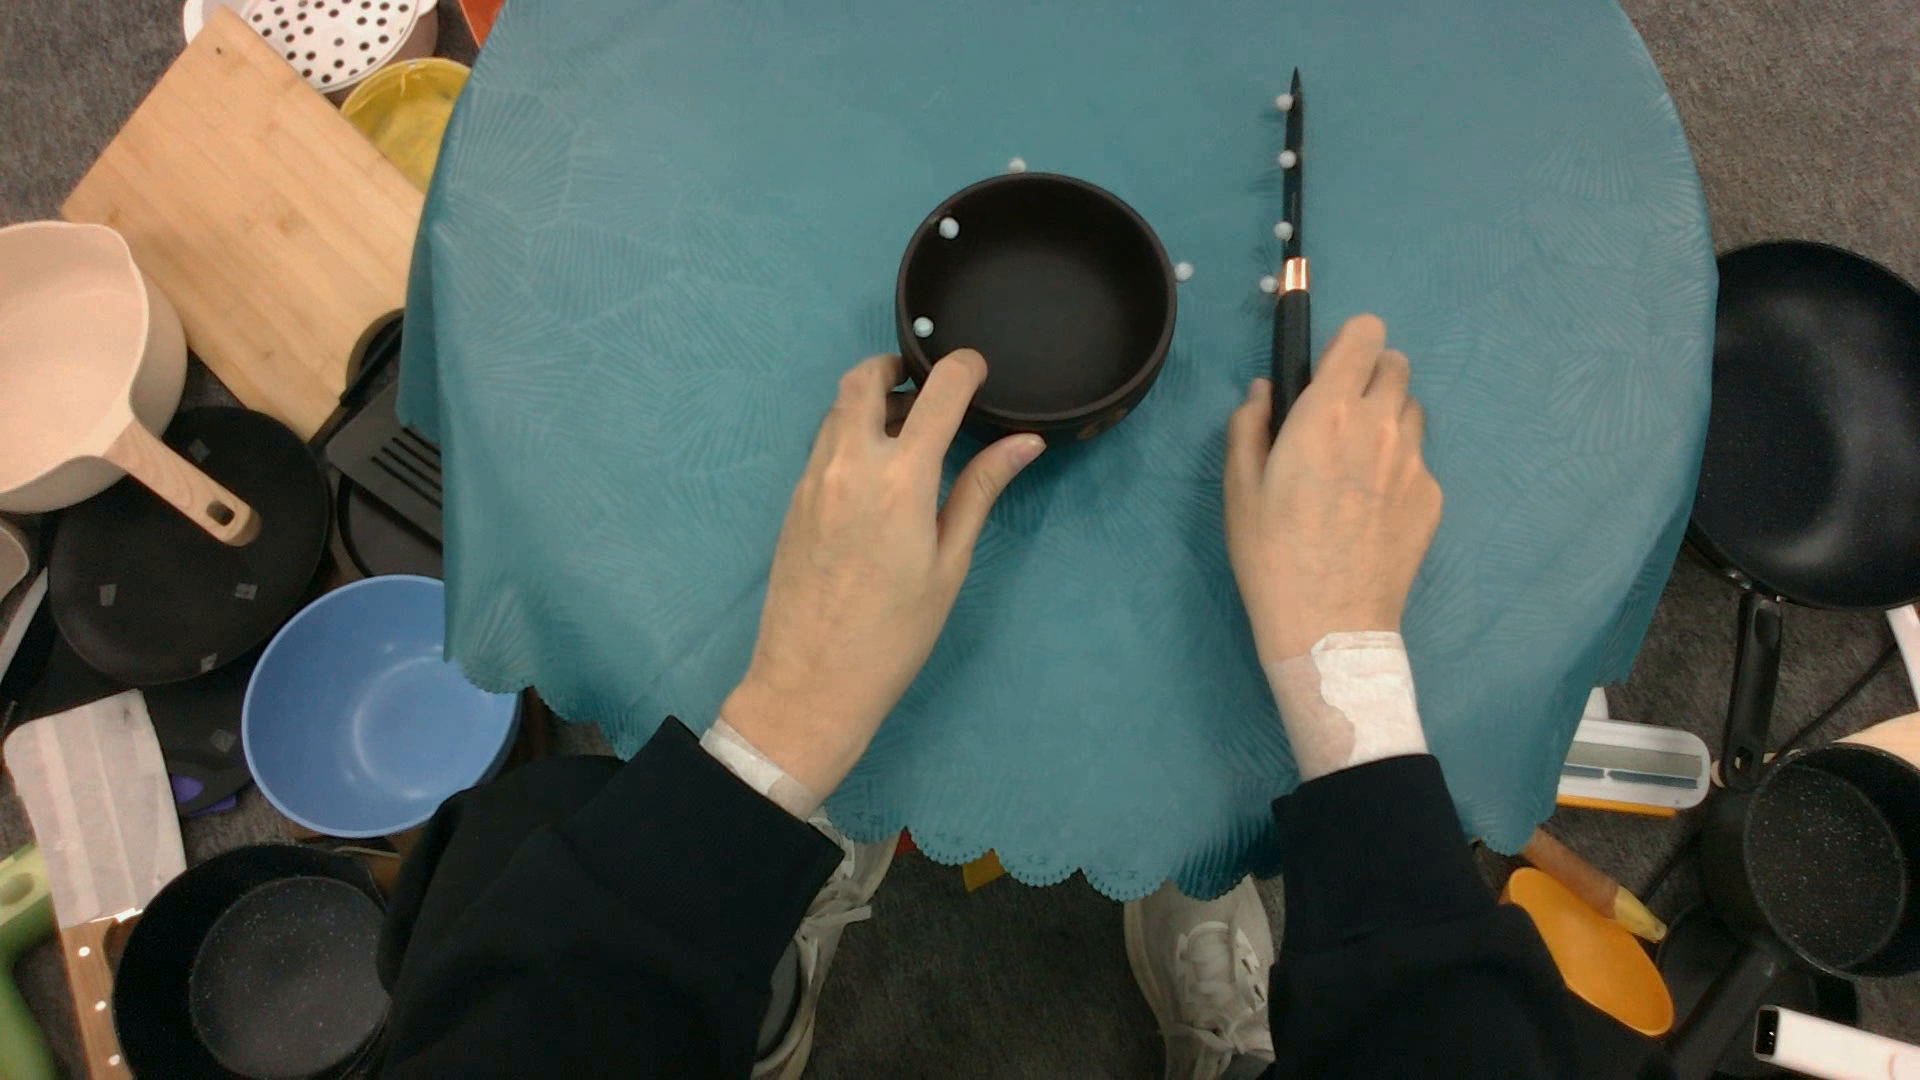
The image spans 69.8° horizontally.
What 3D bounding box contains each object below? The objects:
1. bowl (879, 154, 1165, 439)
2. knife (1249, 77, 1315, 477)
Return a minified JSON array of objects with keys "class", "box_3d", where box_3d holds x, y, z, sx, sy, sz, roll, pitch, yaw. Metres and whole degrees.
[{"class":"bowl","box_3d":[0.025,-0.097,0.589,0.118,0.069,0.118,0,75,0]},{"class":"knife","box_3d":[0.142,-0.127,0.624,0.017,0.026,0.226,-9,63,18]}]
